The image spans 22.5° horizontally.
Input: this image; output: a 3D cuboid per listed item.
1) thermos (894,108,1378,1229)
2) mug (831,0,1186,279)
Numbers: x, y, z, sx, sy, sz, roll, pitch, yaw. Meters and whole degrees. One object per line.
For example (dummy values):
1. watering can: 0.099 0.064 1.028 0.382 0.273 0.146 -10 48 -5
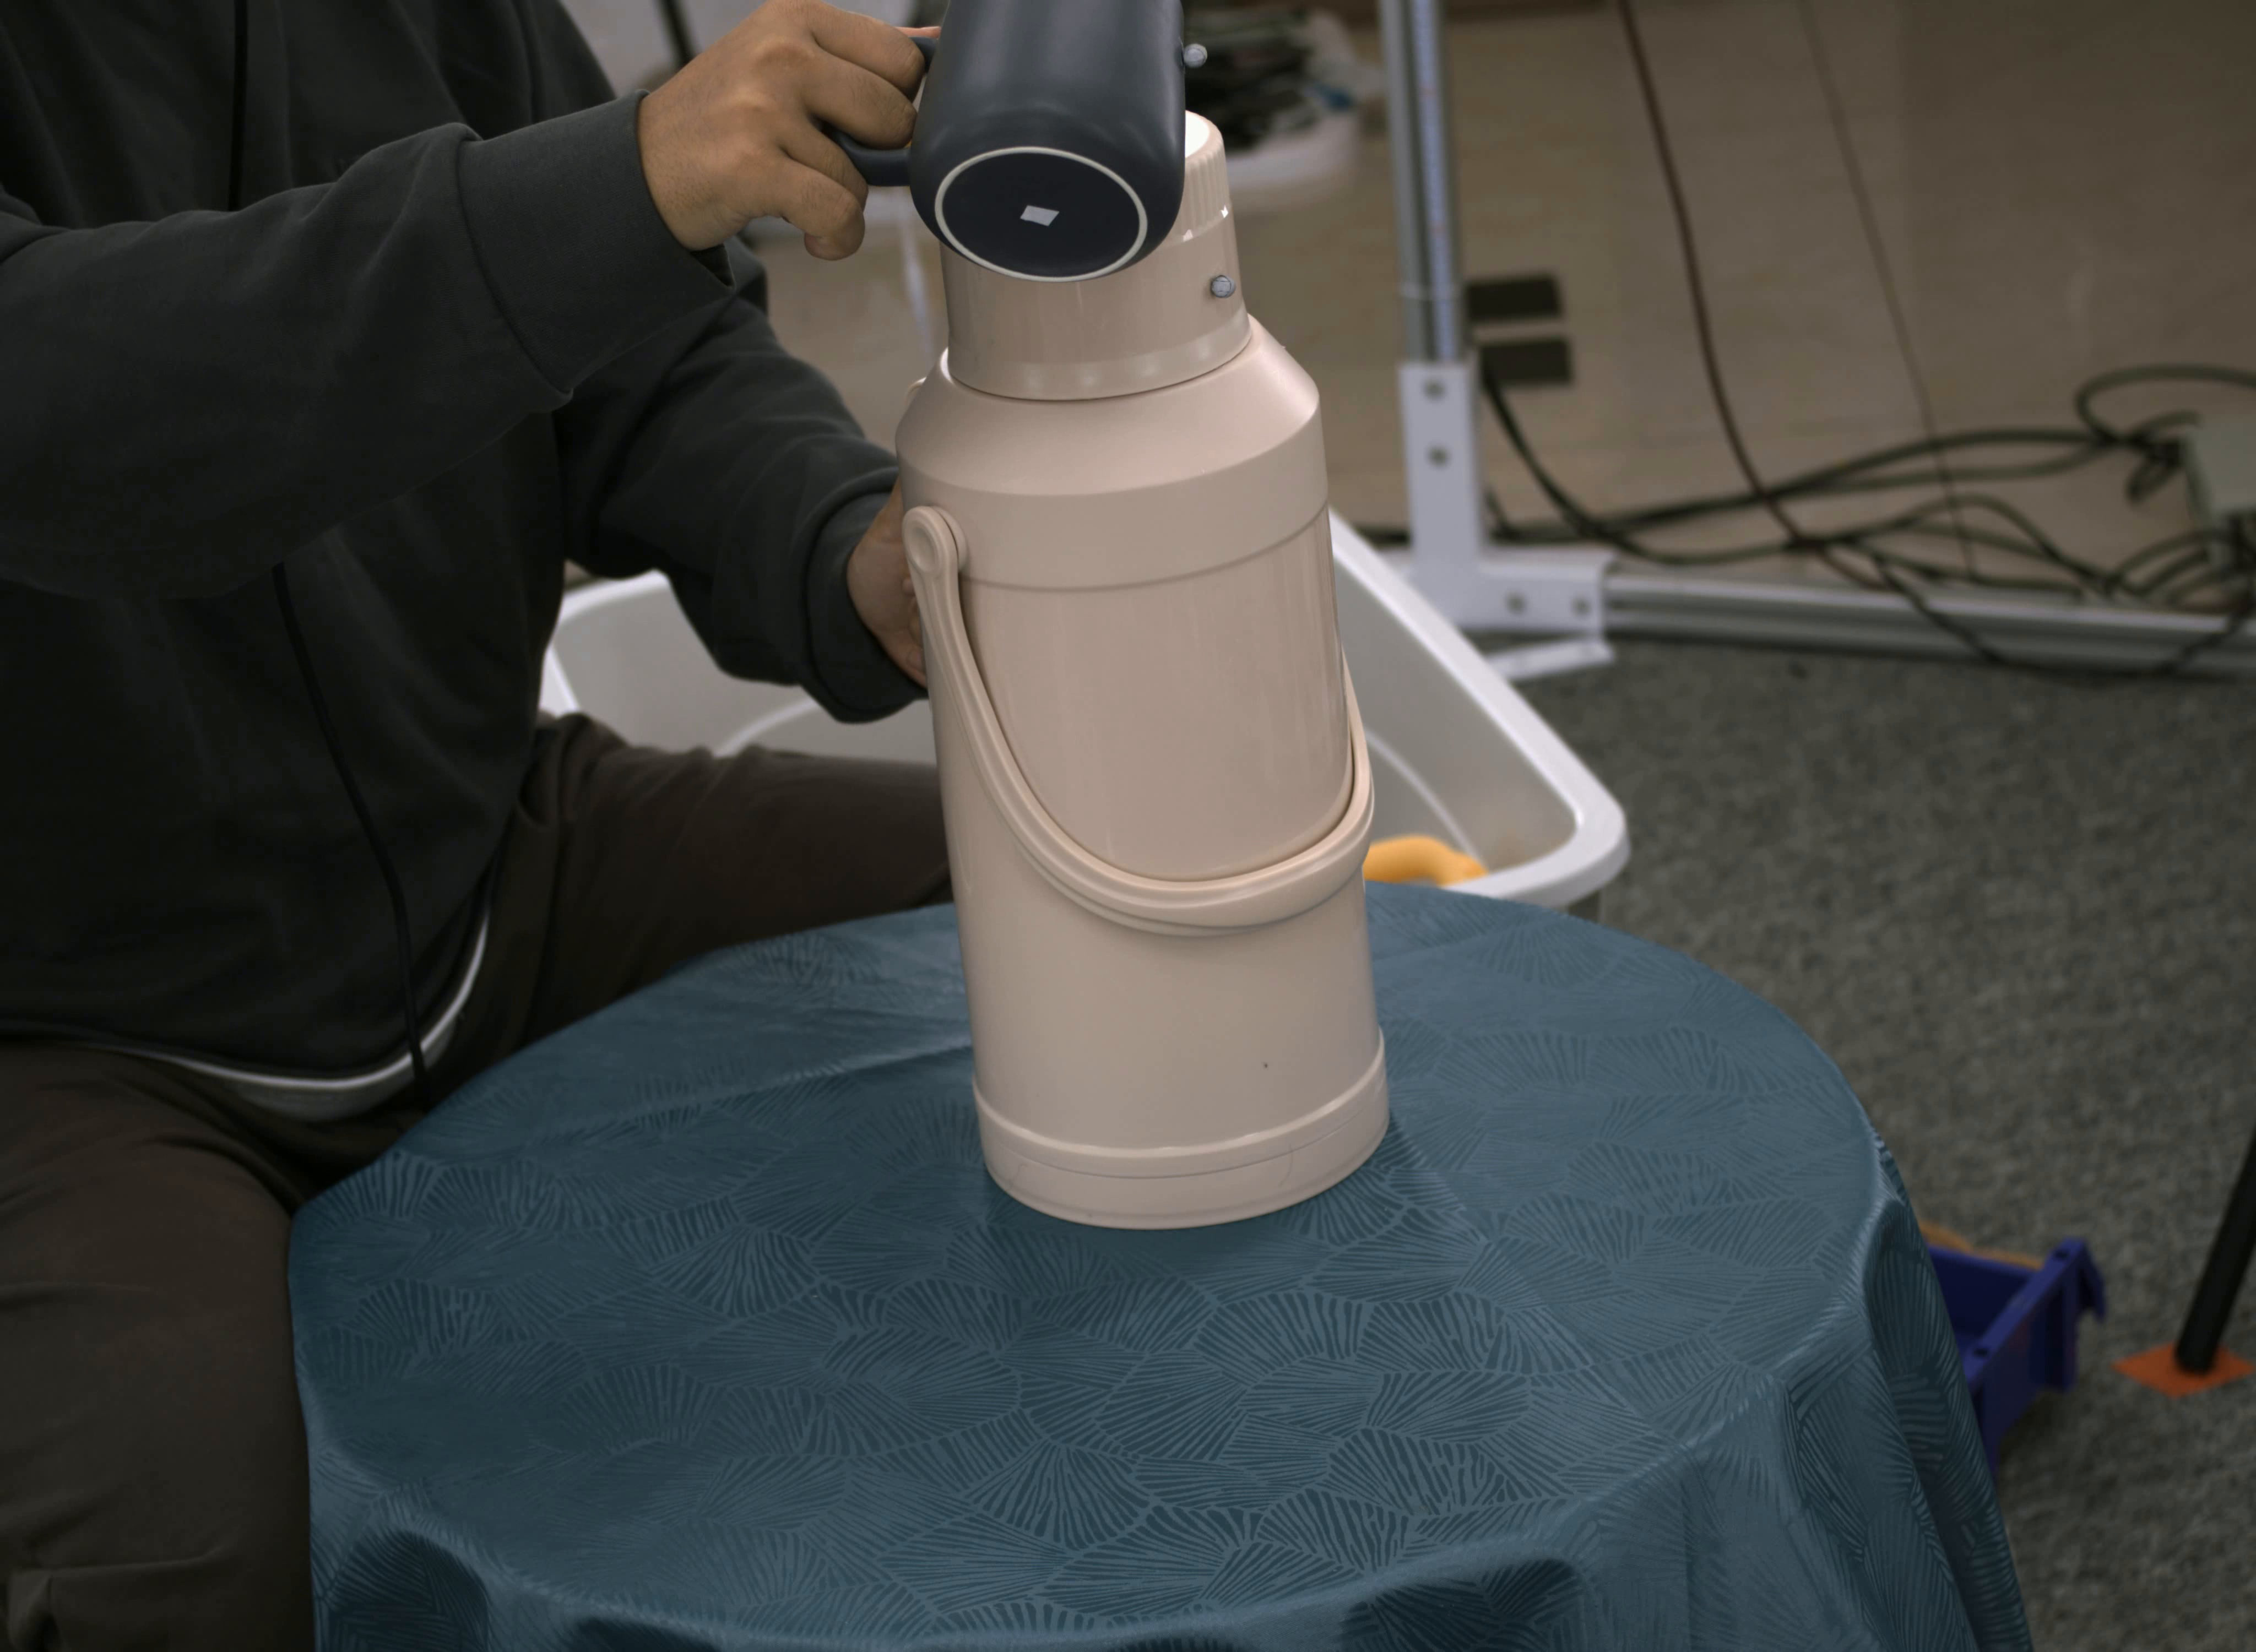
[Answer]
1. thermos: -0.007 -0.065 2.112 0.174 0.413 0.205 -24 31 -32
2. mug: -0.040 -0.243 1.918 0.123 0.095 0.088 -1 59 10
